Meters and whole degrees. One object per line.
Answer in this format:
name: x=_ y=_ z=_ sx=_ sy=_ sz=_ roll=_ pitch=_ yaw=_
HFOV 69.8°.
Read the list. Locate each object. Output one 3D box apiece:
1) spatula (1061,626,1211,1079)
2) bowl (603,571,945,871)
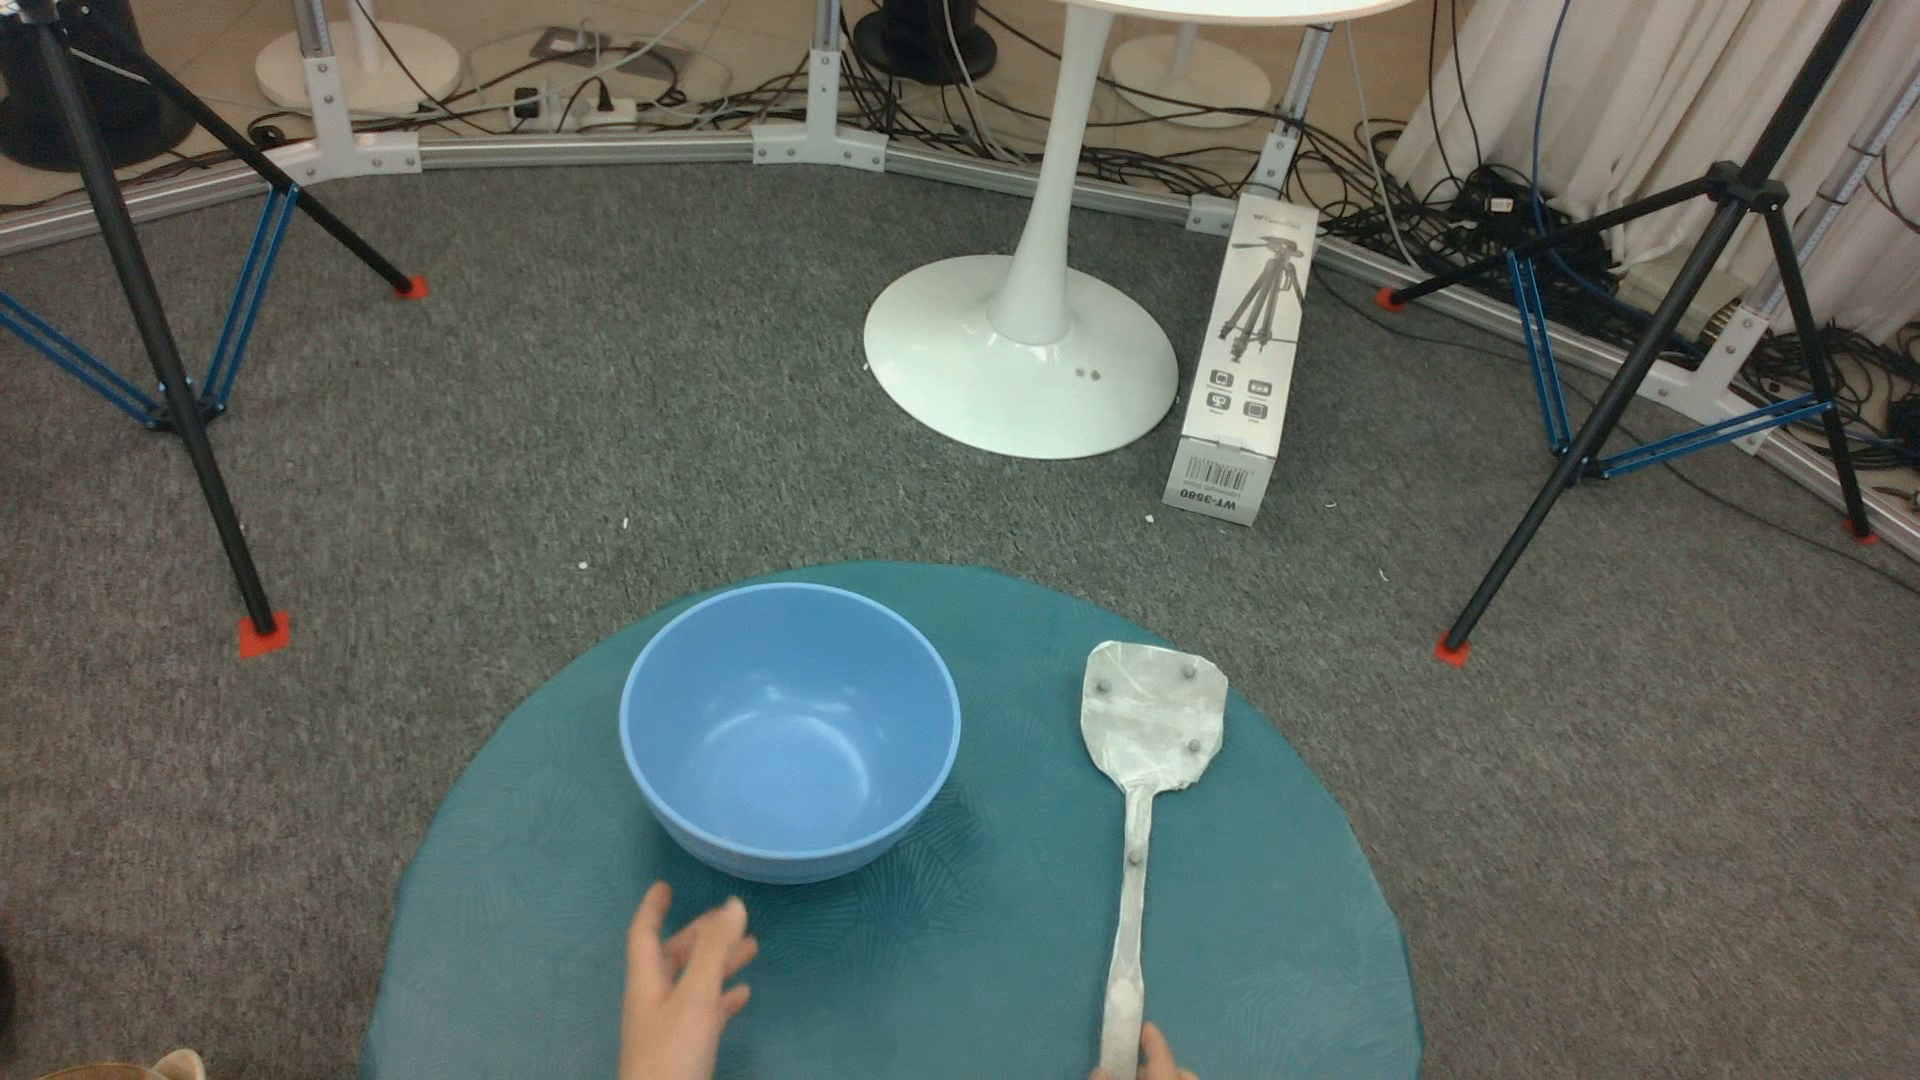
spatula: x=0.092 y=0.203 z=0.834 sx=0.099 sy=0.044 sz=0.367 roll=14 pitch=45 yaw=1
bowl: x=-0.113 y=0.122 z=0.829 sx=0.196 sy=0.095 sz=0.197 roll=7 pitch=45 yaw=-7
